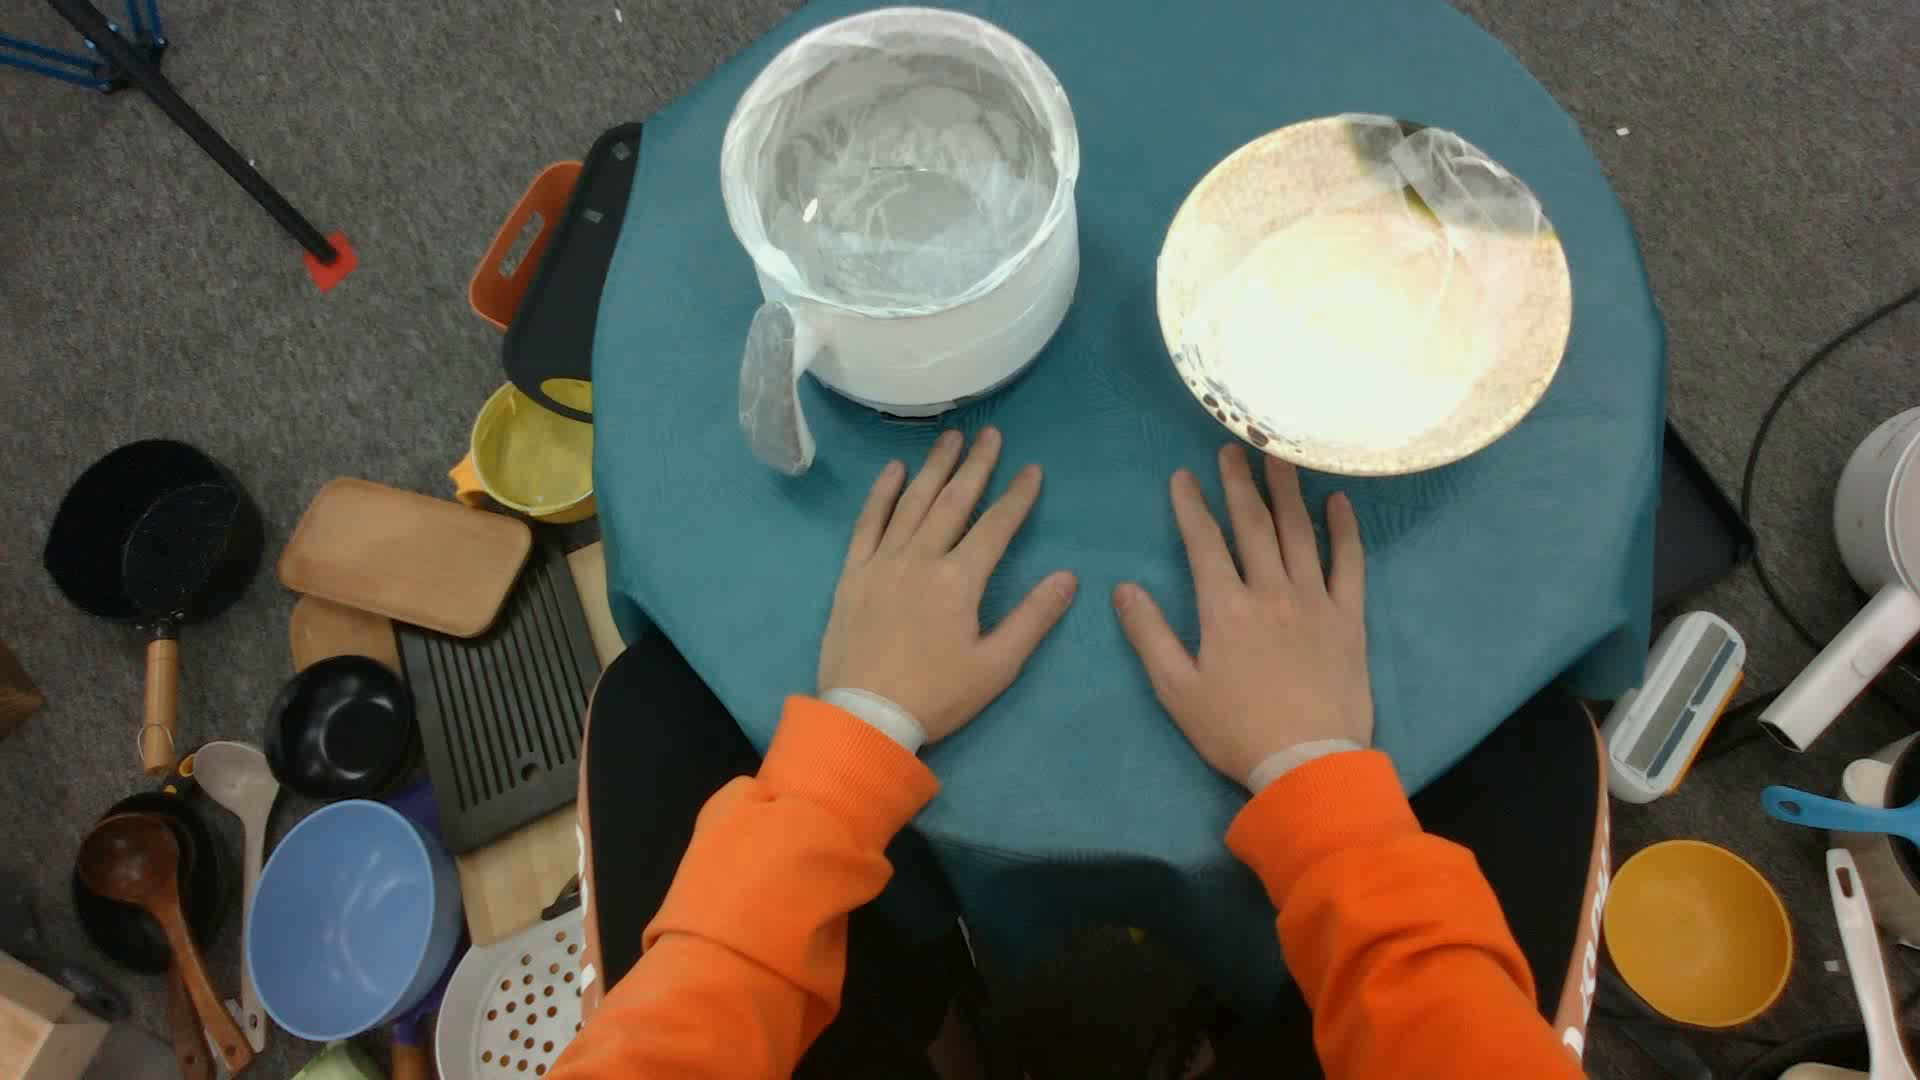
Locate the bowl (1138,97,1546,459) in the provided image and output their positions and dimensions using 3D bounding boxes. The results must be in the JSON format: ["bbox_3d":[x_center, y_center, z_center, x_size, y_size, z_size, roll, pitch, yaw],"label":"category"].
[{"bbox_3d":[0.196,-0.127,0.734,0.204,0.078,0.204,-1,73,4],"label":"bowl"}]

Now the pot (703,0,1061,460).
[{"bbox_3d":[-0.050,-0.153,0.729,0.179,0.136,0.234,30,76,14],"label":"pot"}]
